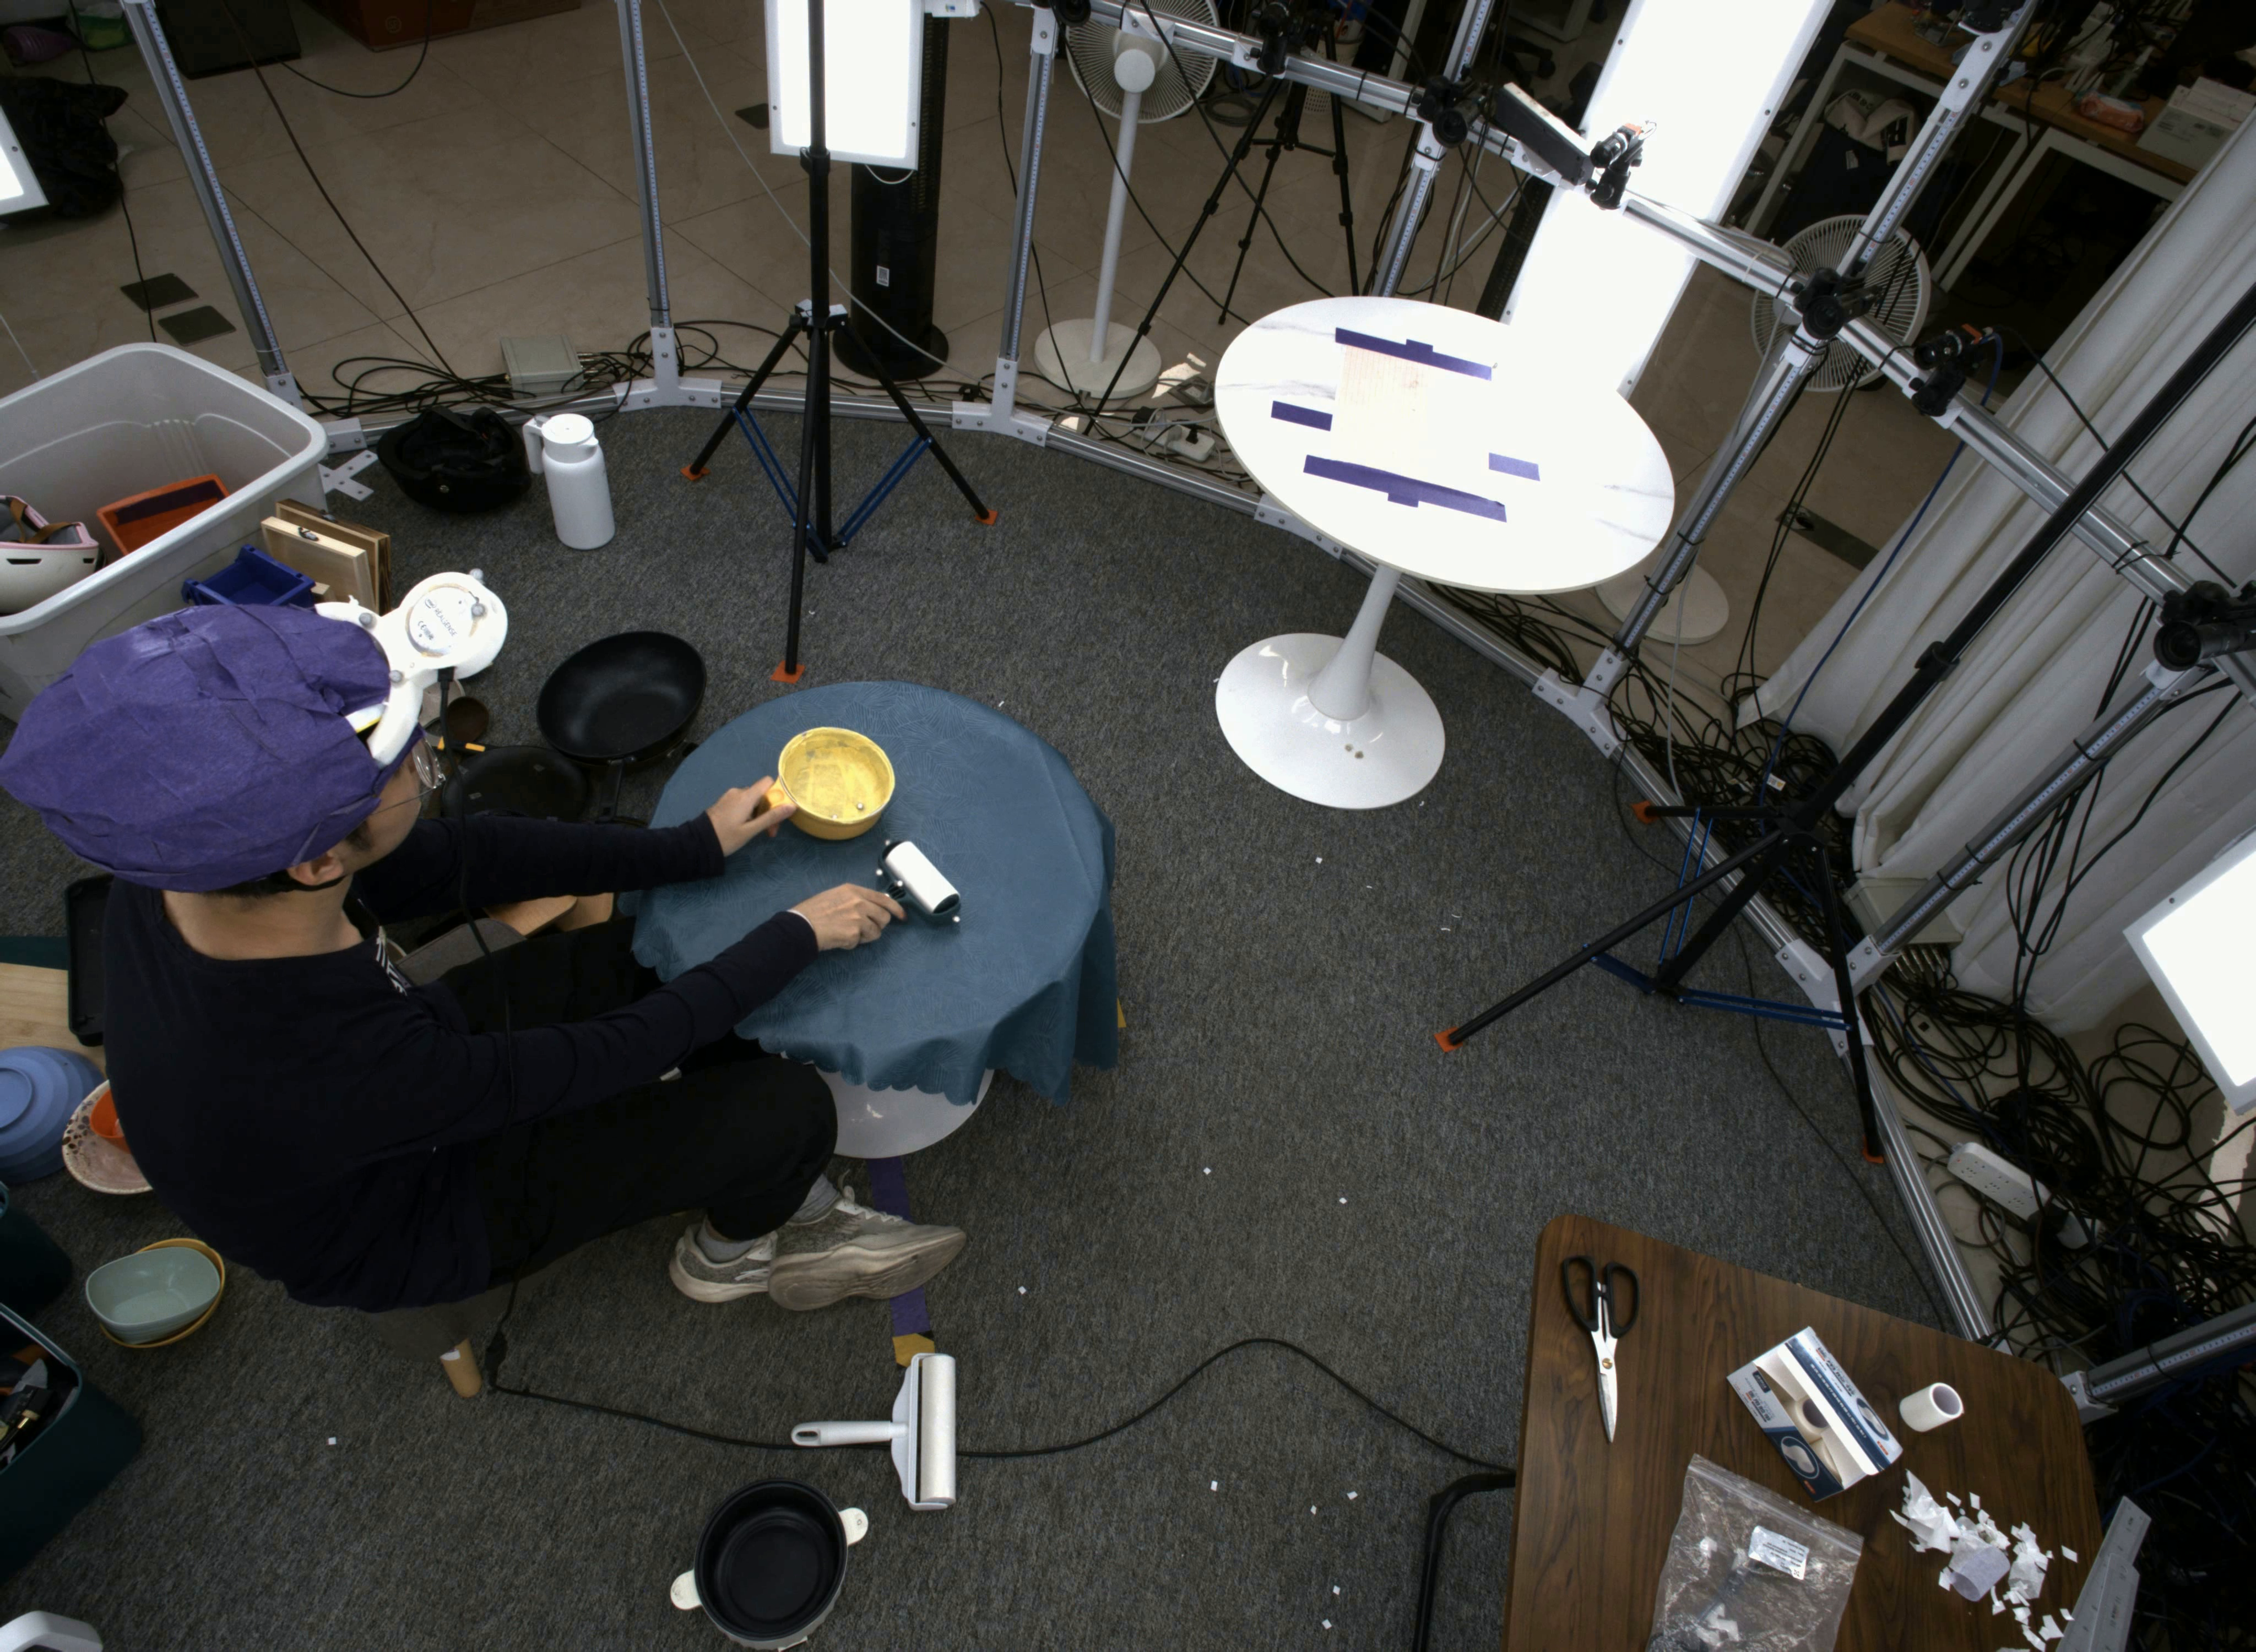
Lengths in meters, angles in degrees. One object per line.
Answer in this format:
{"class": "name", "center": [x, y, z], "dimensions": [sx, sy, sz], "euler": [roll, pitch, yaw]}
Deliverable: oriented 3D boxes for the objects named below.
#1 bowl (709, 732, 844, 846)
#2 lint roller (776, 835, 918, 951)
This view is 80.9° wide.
{"class": "bowl", "center": [-0.466, -0.041, 1.701], "dimensions": [0.151, 0.075, 0.180], "euler": [47, 50, 11]}
{"class": "lint roller", "center": [-0.365, 0.096, 1.628], "dimensions": [0.132, 0.049, 0.181], "euler": [44, 46, 14]}
